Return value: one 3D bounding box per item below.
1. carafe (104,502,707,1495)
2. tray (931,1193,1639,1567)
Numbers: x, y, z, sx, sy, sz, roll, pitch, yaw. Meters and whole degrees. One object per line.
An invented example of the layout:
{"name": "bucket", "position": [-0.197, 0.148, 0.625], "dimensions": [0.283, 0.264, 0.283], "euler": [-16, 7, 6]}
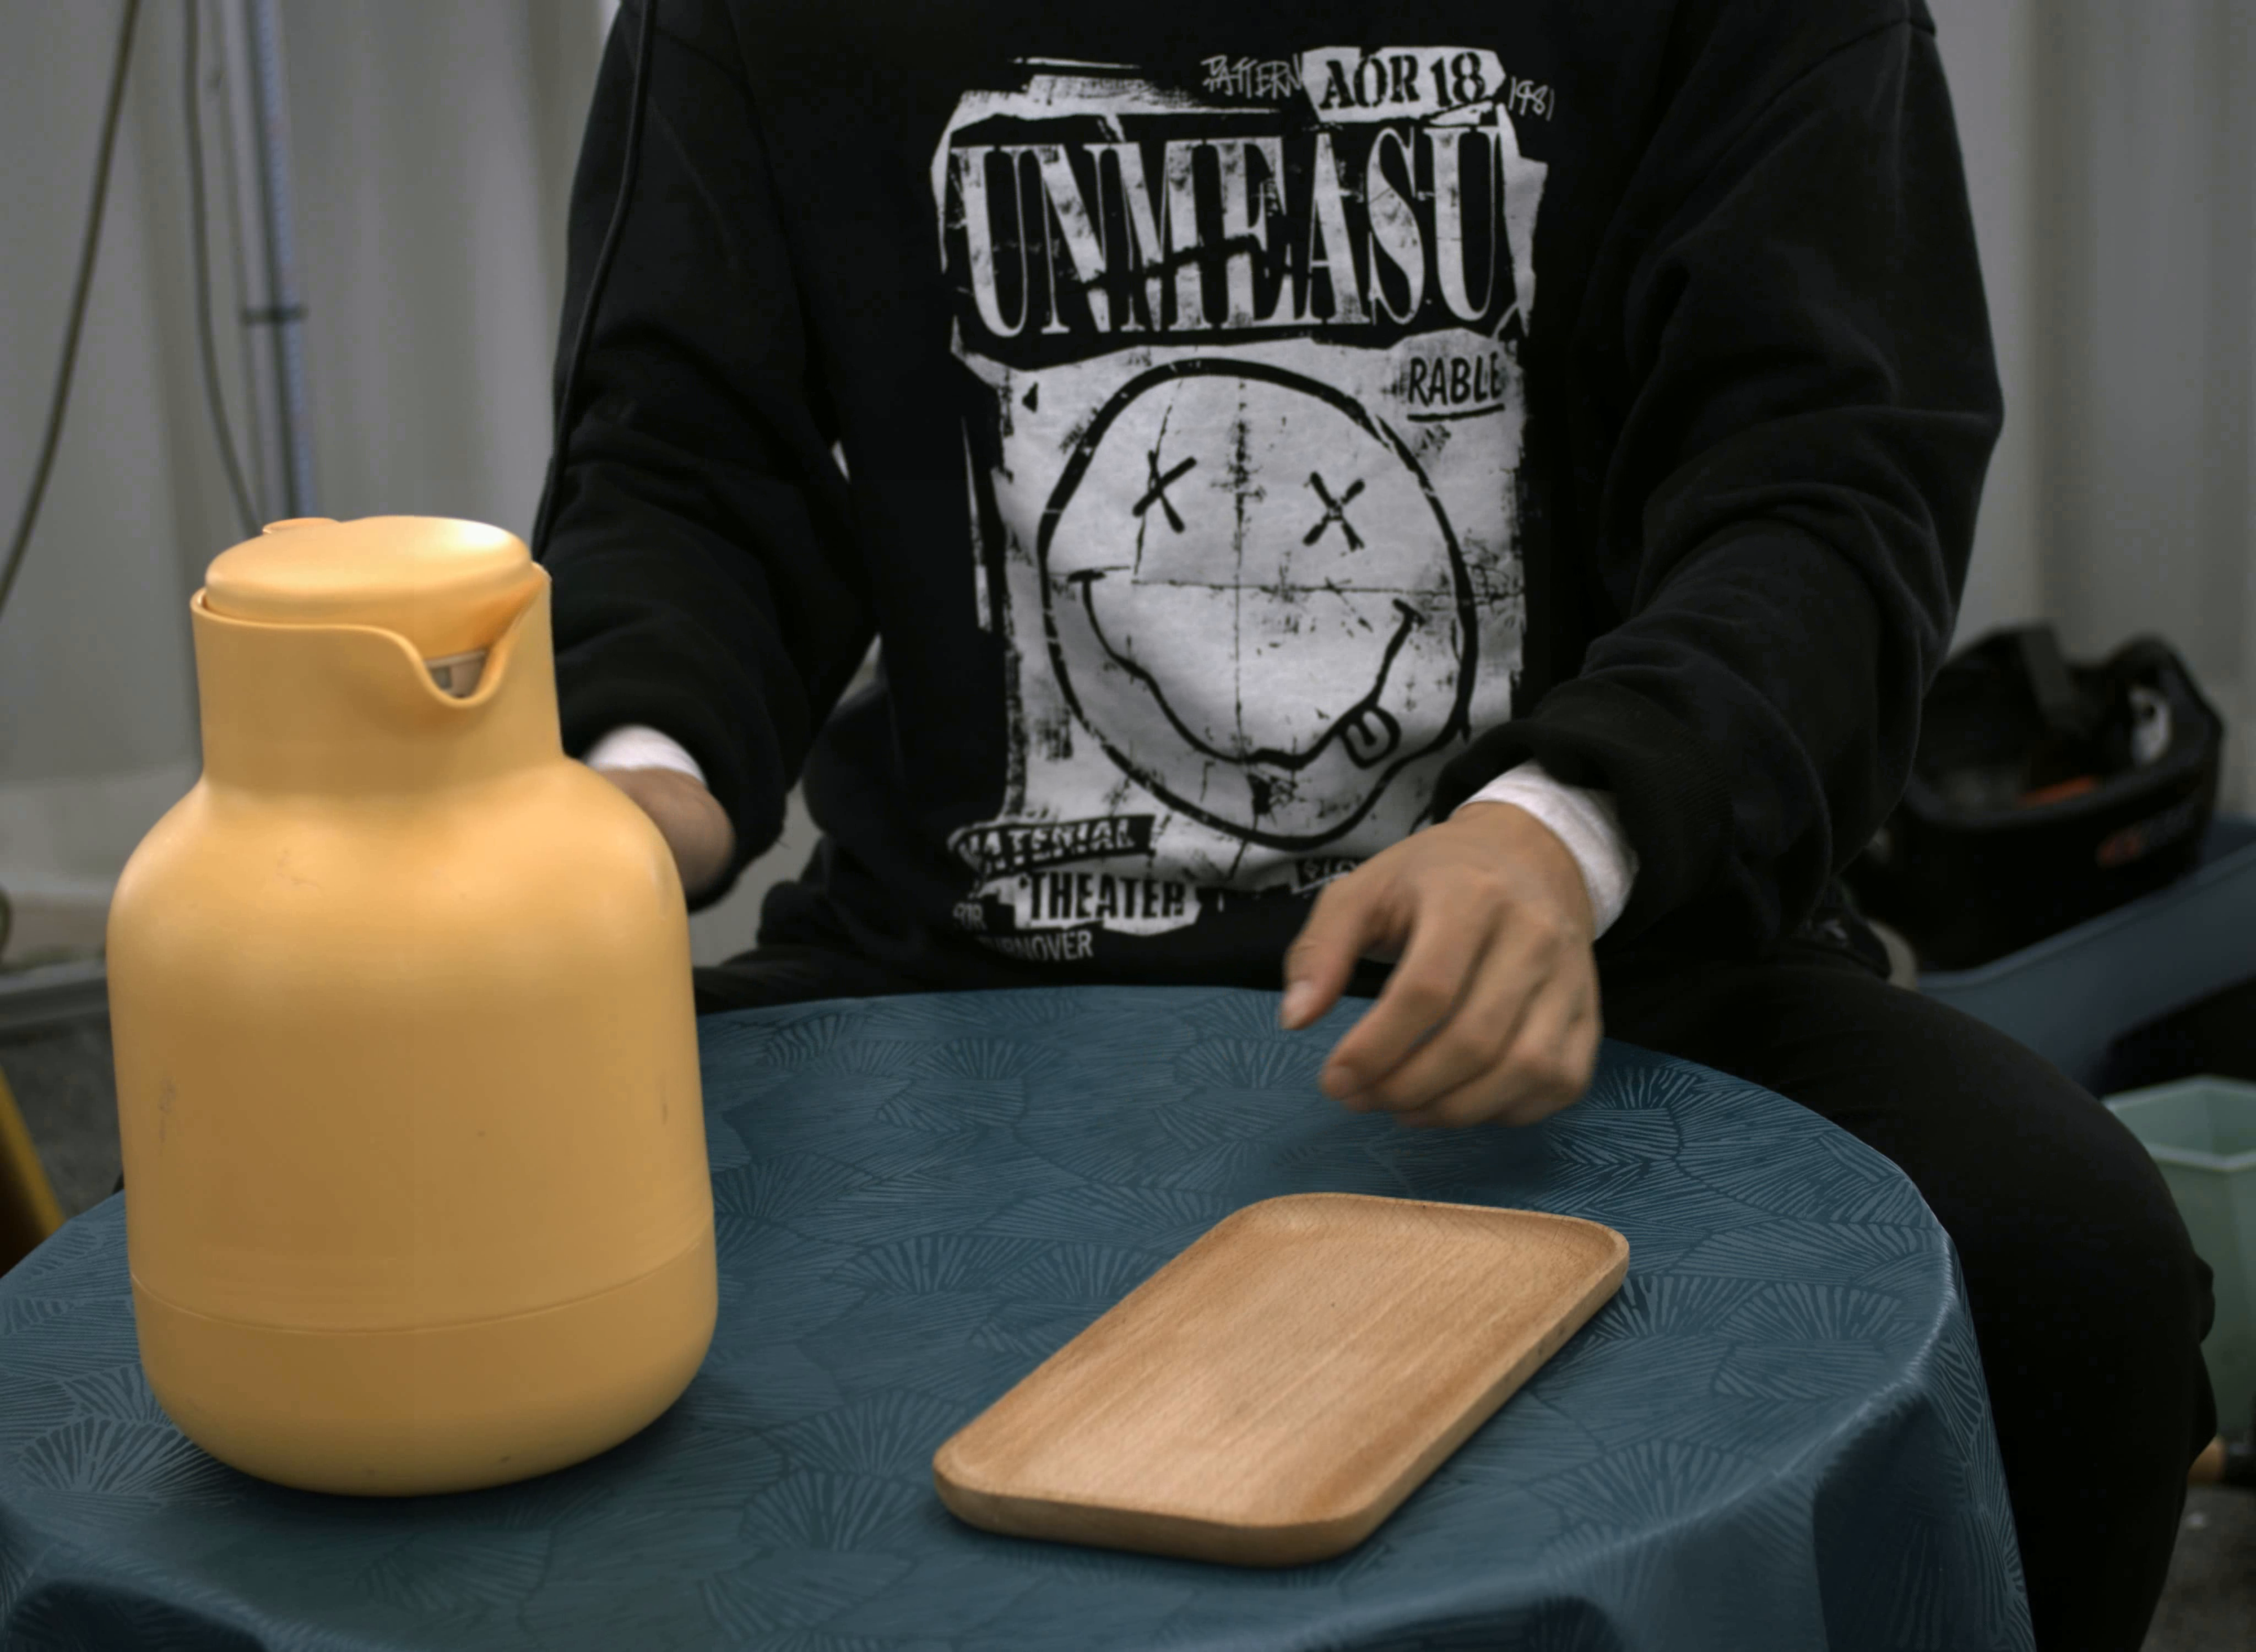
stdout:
{"name": "carafe", "position": [-0.208, 0.039, 1.533], "dimensions": [0.162, 0.259, 0.204], "euler": [-7, 16, -24]}
{"name": "tray", "position": [0.048, 0.152, 1.532], "dimensions": [0.131, 0.023, 0.251], "euler": [7, 17, 25]}
